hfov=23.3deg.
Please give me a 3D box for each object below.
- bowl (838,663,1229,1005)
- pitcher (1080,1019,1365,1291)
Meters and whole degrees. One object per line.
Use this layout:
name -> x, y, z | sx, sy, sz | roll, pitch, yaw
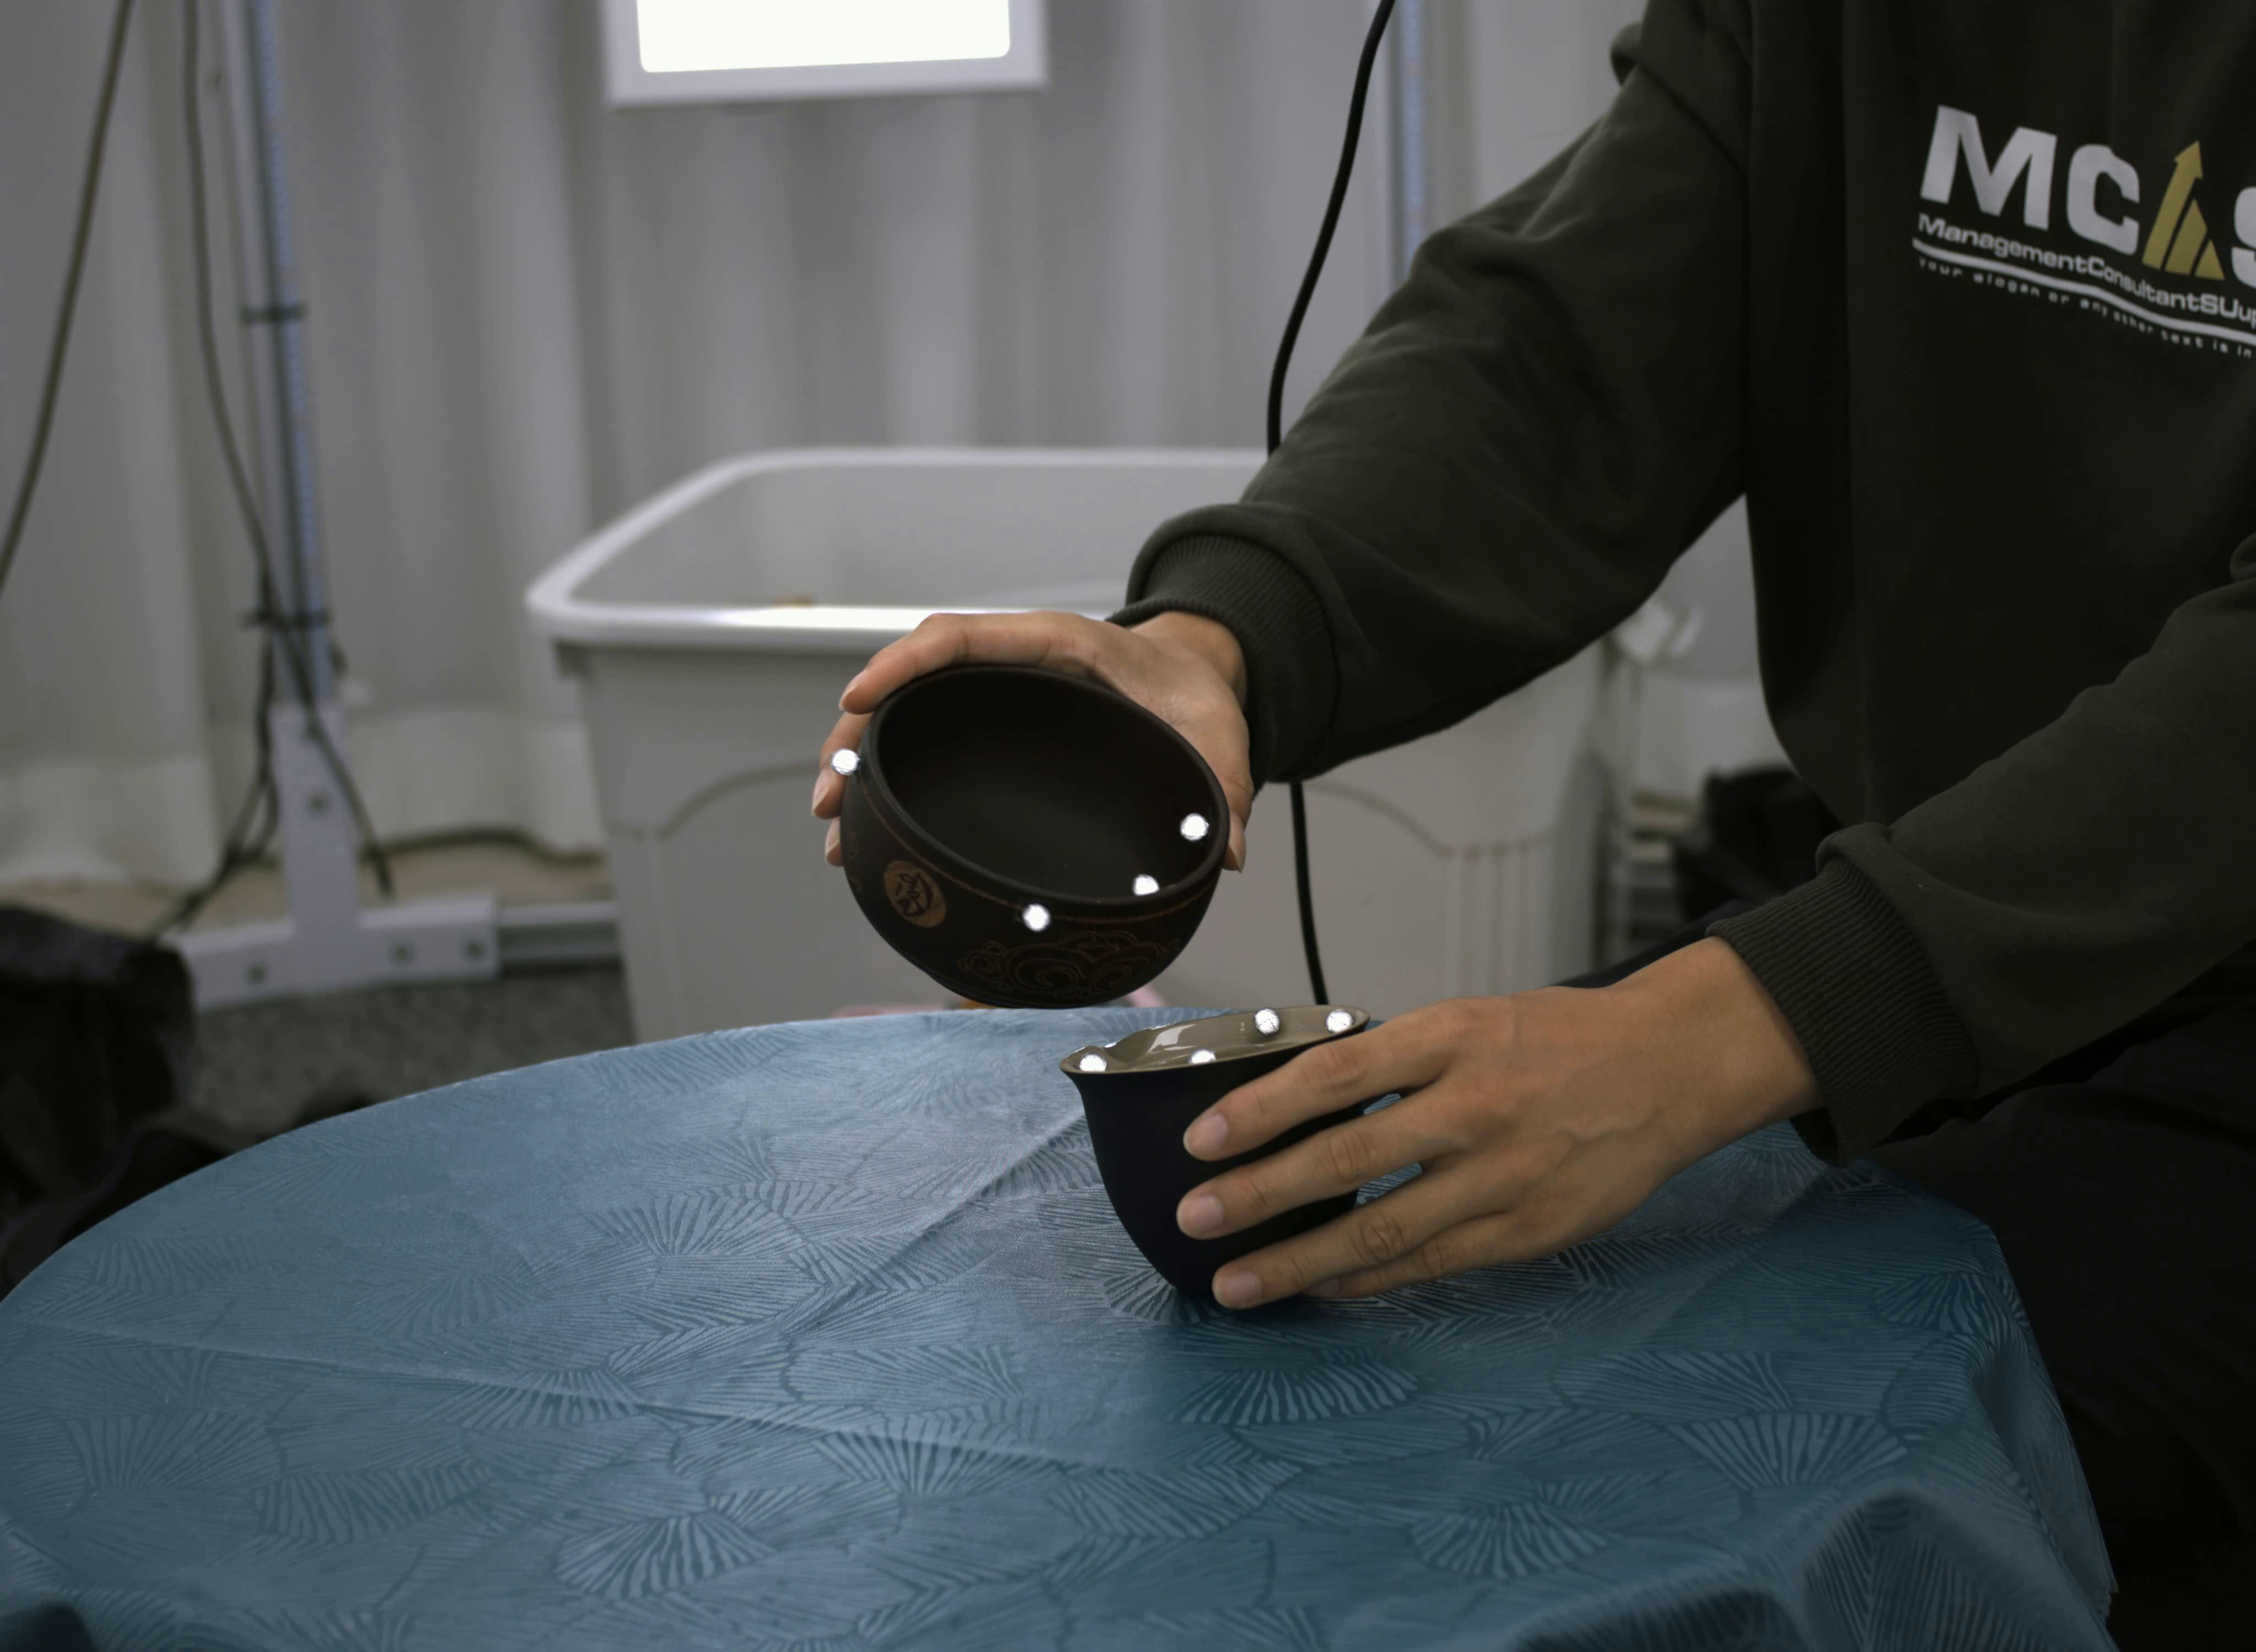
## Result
bowl -> -0.033, 0.011, 1.681 | 0.117, 0.069, 0.119 | 13, 34, -9
pitcher -> 0.029, 0.097, 1.625 | 0.083, 0.071, 0.096 | -16, 7, -30
